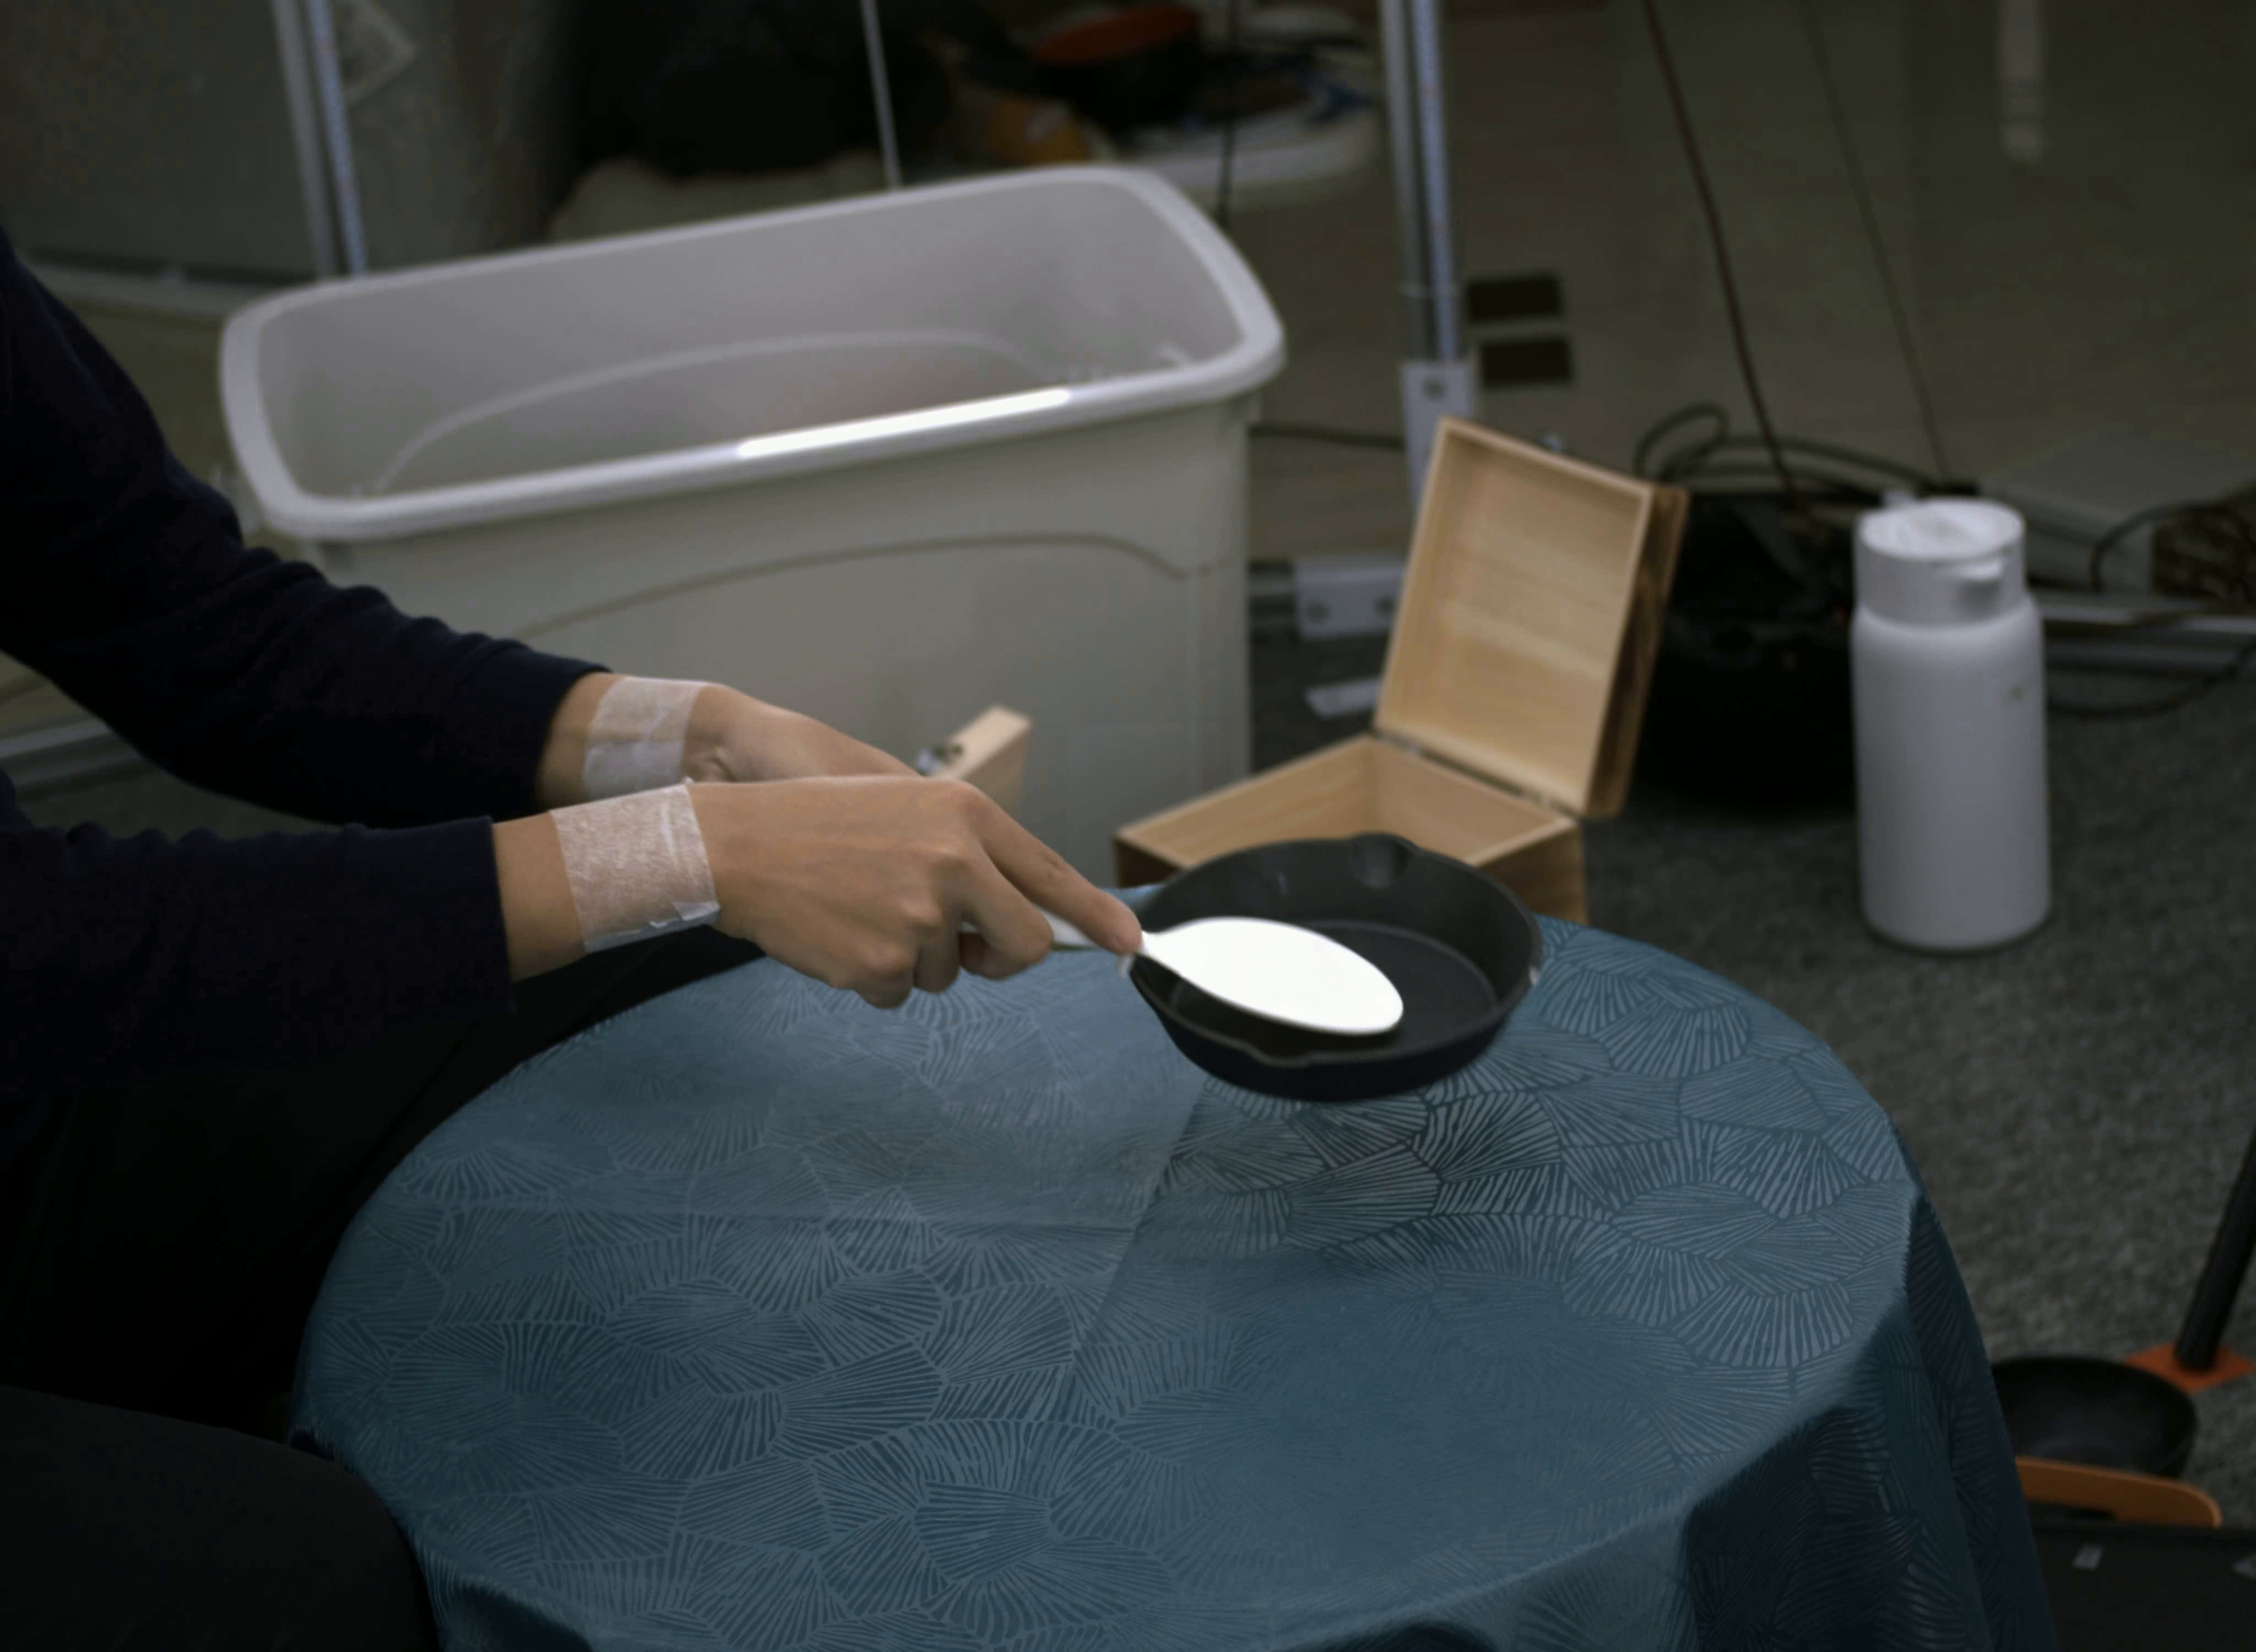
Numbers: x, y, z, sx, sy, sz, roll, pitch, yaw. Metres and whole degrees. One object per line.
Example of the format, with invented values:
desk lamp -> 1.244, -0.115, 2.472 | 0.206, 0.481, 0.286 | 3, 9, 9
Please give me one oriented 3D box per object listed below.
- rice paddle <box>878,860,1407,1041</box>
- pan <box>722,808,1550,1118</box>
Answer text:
rice paddle -> 0.009, 0.046, 2.108 | 0.205, 0.030, 0.067 | 12, 30, -15
pan -> 0.000, 0.042, 2.145 | 0.323, 0.050, 0.166 | 10, 33, 15
